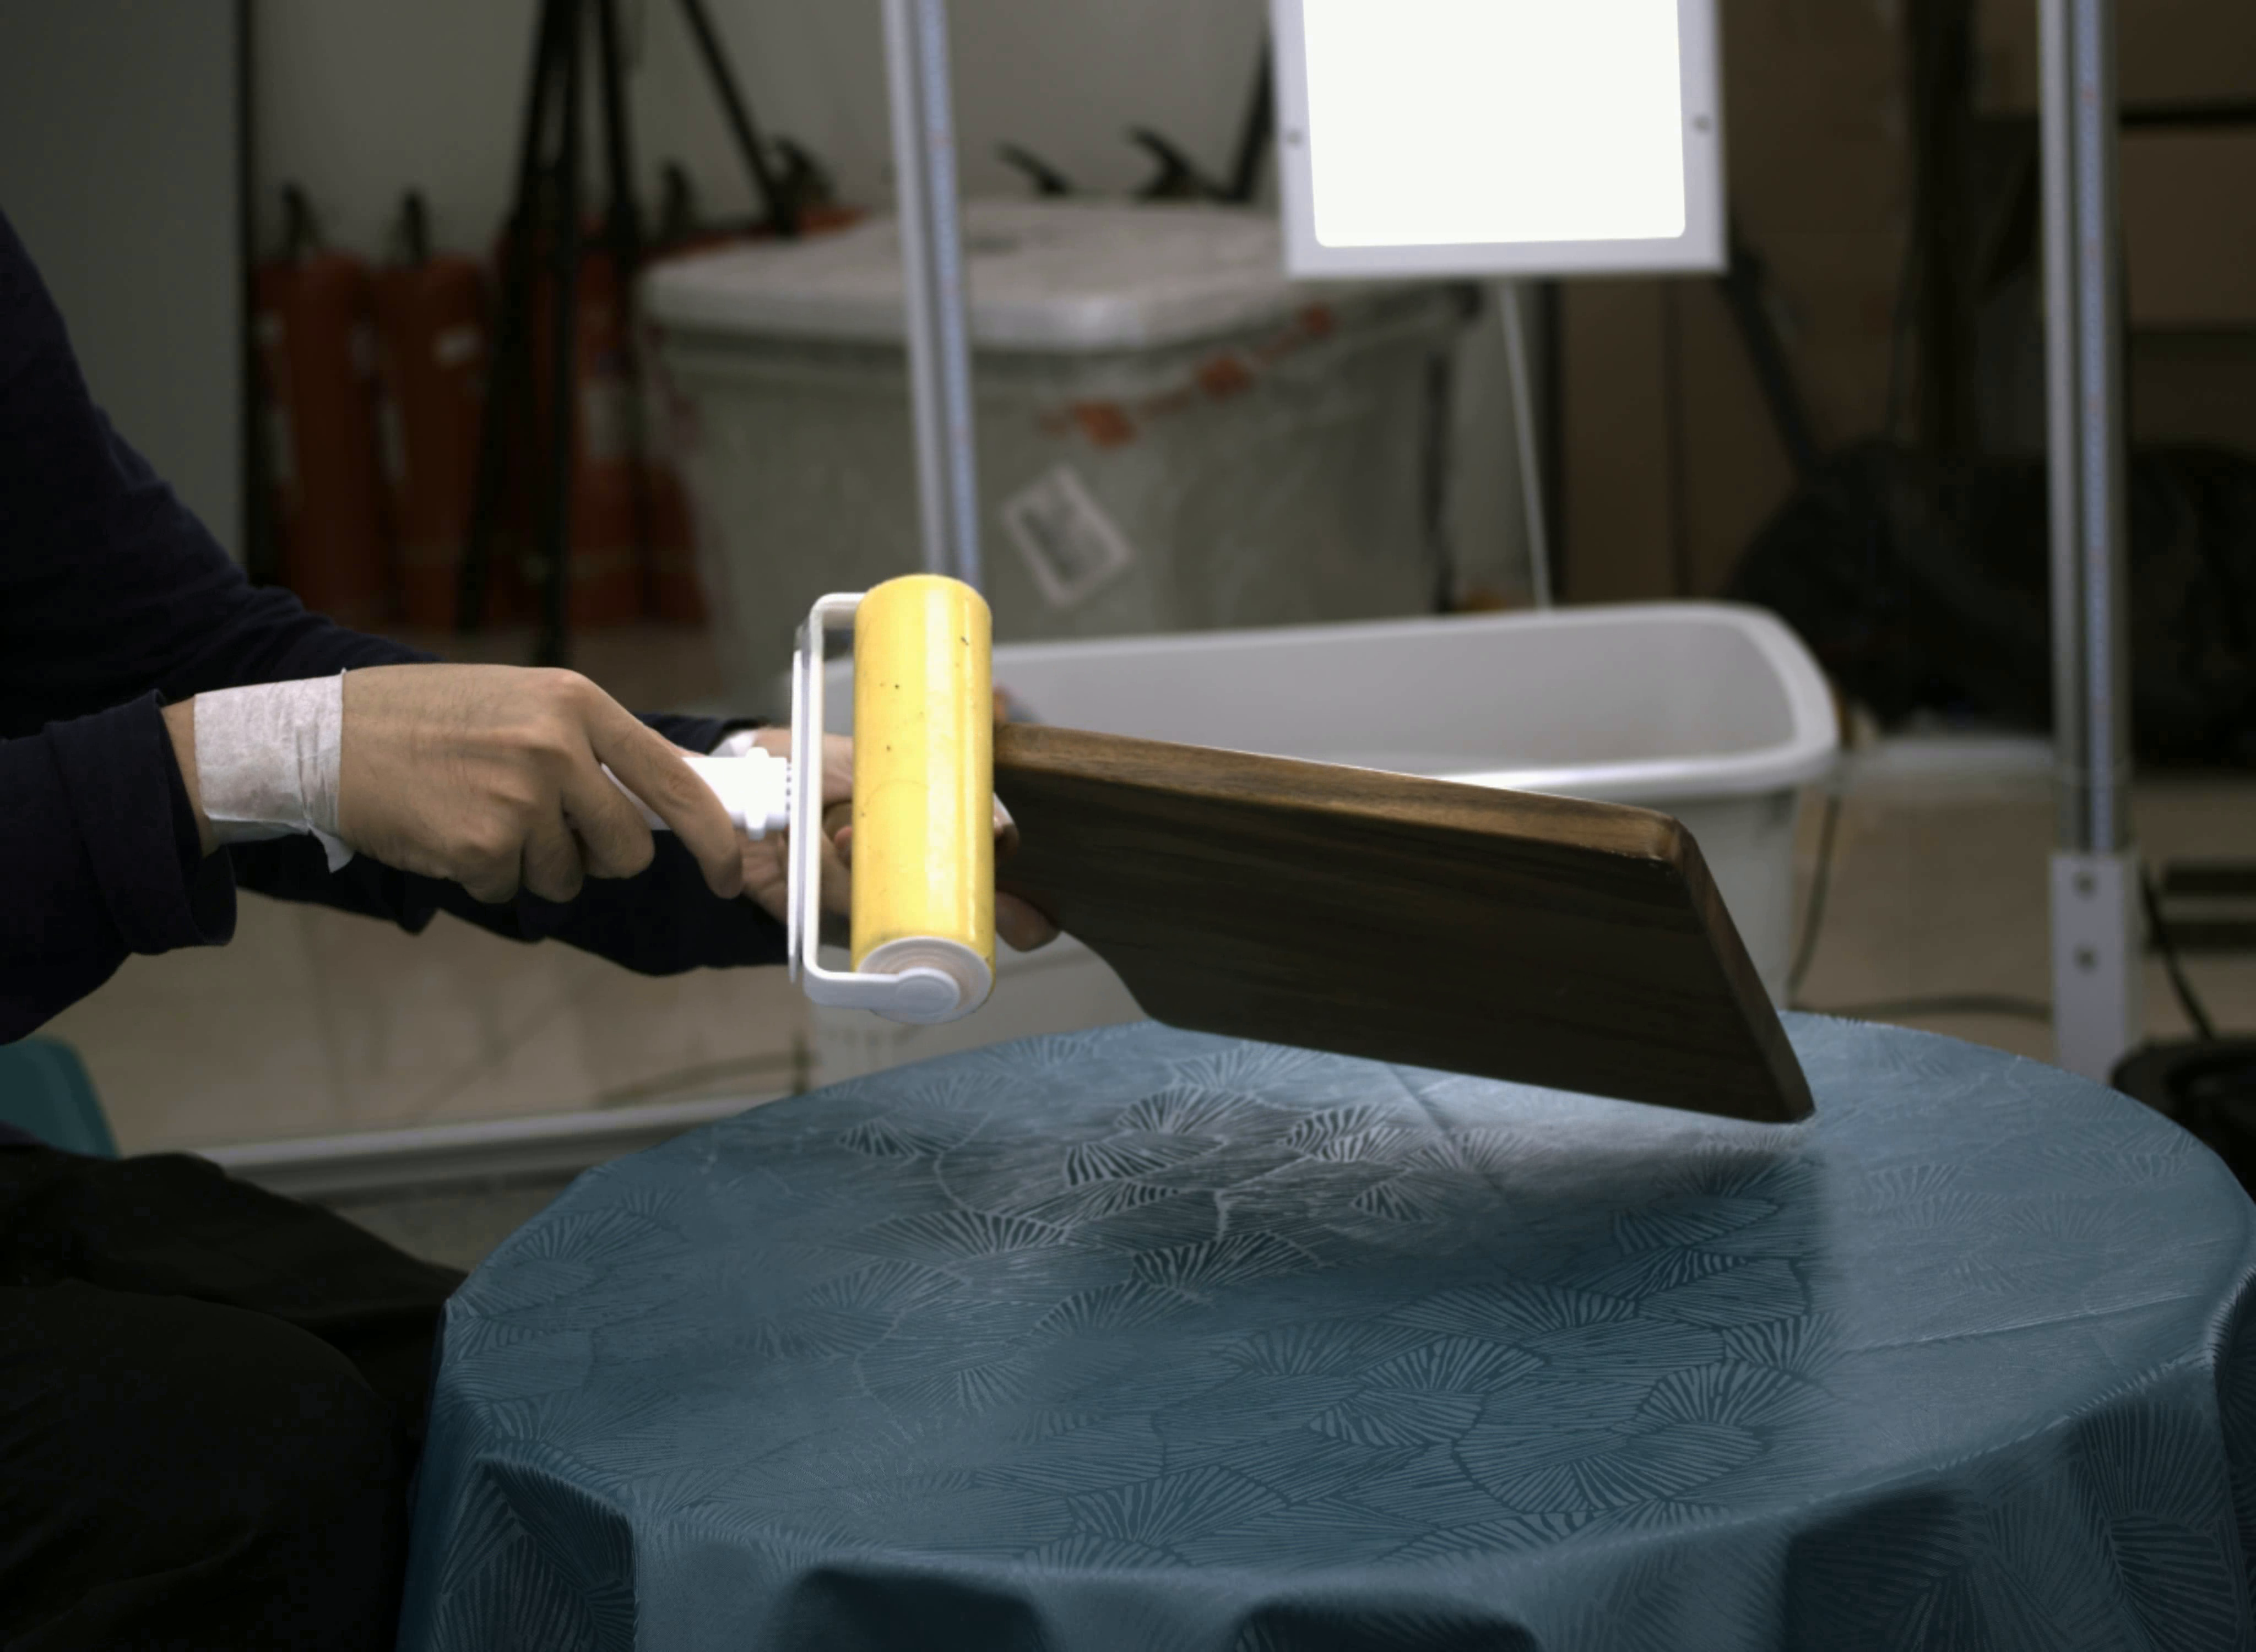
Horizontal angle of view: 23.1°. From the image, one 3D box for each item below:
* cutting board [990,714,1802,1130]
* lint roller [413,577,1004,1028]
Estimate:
[{"bbox_3d":[0.048,0.027,1.892,0.358,0.023,0.199,8,-26,27],"label":"cutting board"},{"bbox_3d":[-0.138,-0.015,1.818,0.190,0.052,0.174,5,48,-9],"label":"lint roller"}]
